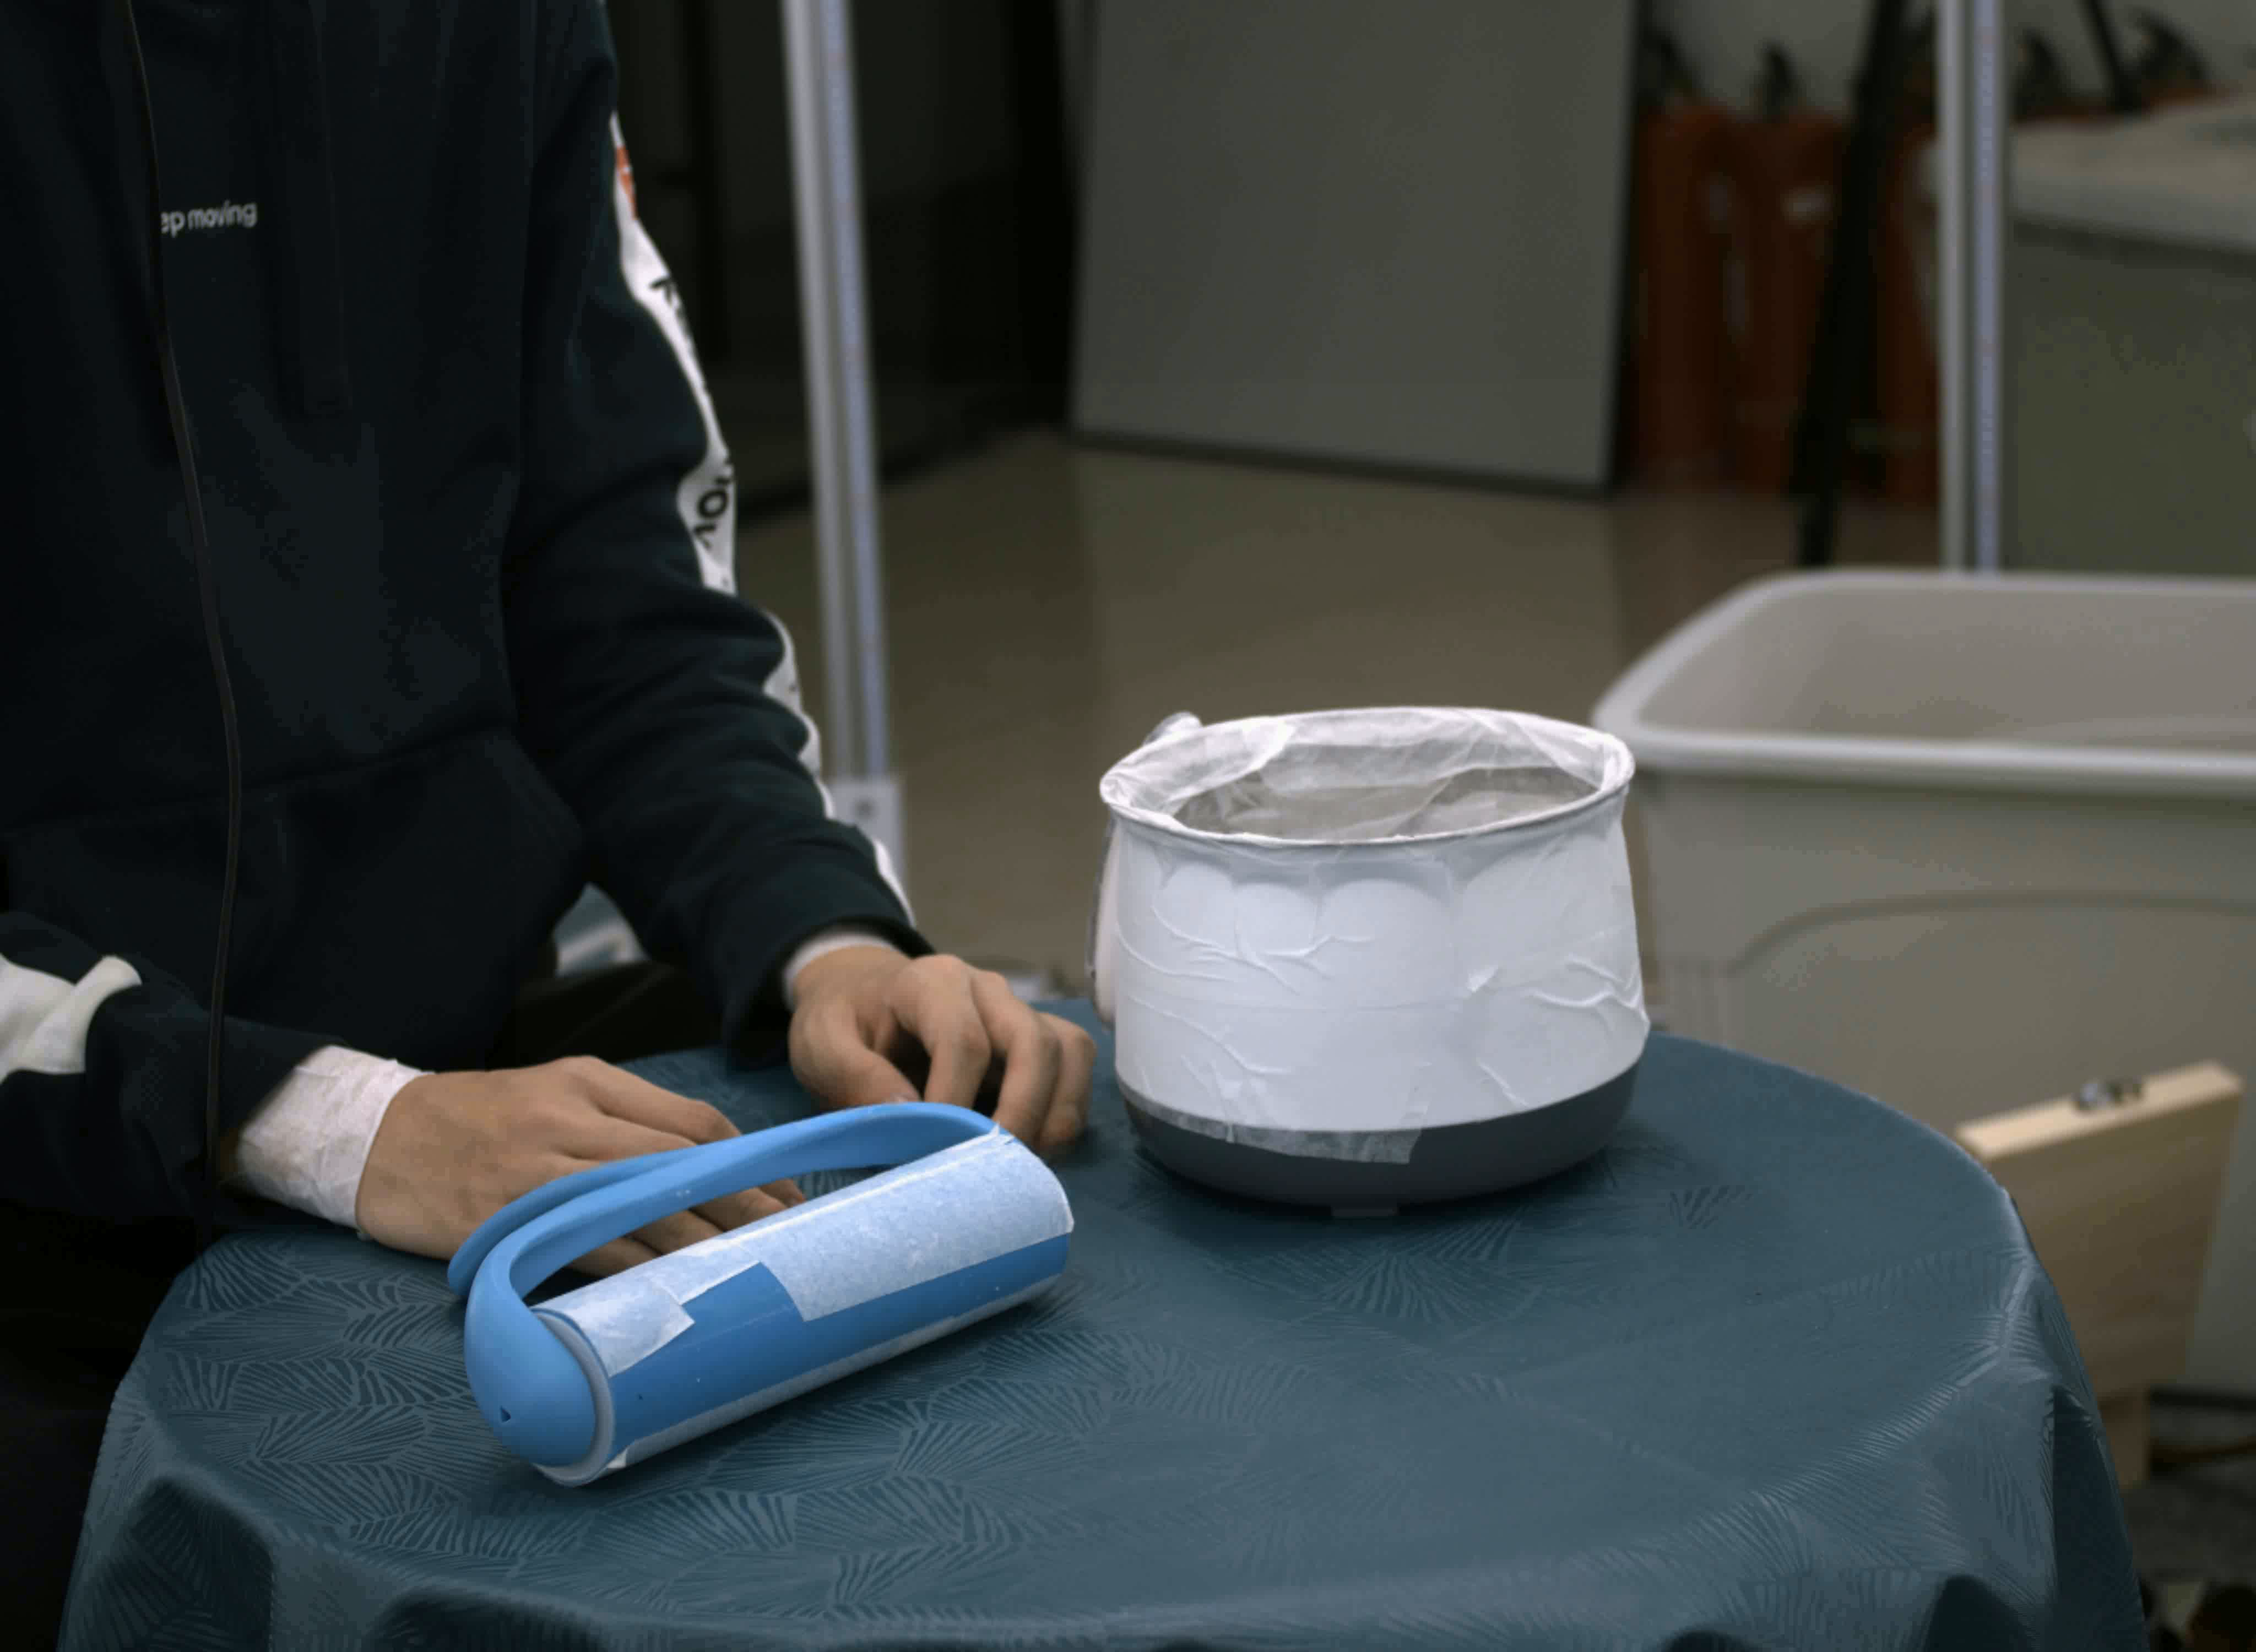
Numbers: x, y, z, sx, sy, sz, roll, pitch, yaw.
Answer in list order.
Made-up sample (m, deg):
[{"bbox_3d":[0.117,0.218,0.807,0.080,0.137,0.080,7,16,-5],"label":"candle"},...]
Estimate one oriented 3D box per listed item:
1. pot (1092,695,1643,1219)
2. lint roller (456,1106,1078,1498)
[{"bbox_3d":[0.065,0.037,1.798,0.175,0.138,0.236,-14,18,-35],"label":"pot"},{"bbox_3d":[-0.142,0.135,1.640,0.181,0.068,0.225,8,20,39],"label":"lint roller"}]
